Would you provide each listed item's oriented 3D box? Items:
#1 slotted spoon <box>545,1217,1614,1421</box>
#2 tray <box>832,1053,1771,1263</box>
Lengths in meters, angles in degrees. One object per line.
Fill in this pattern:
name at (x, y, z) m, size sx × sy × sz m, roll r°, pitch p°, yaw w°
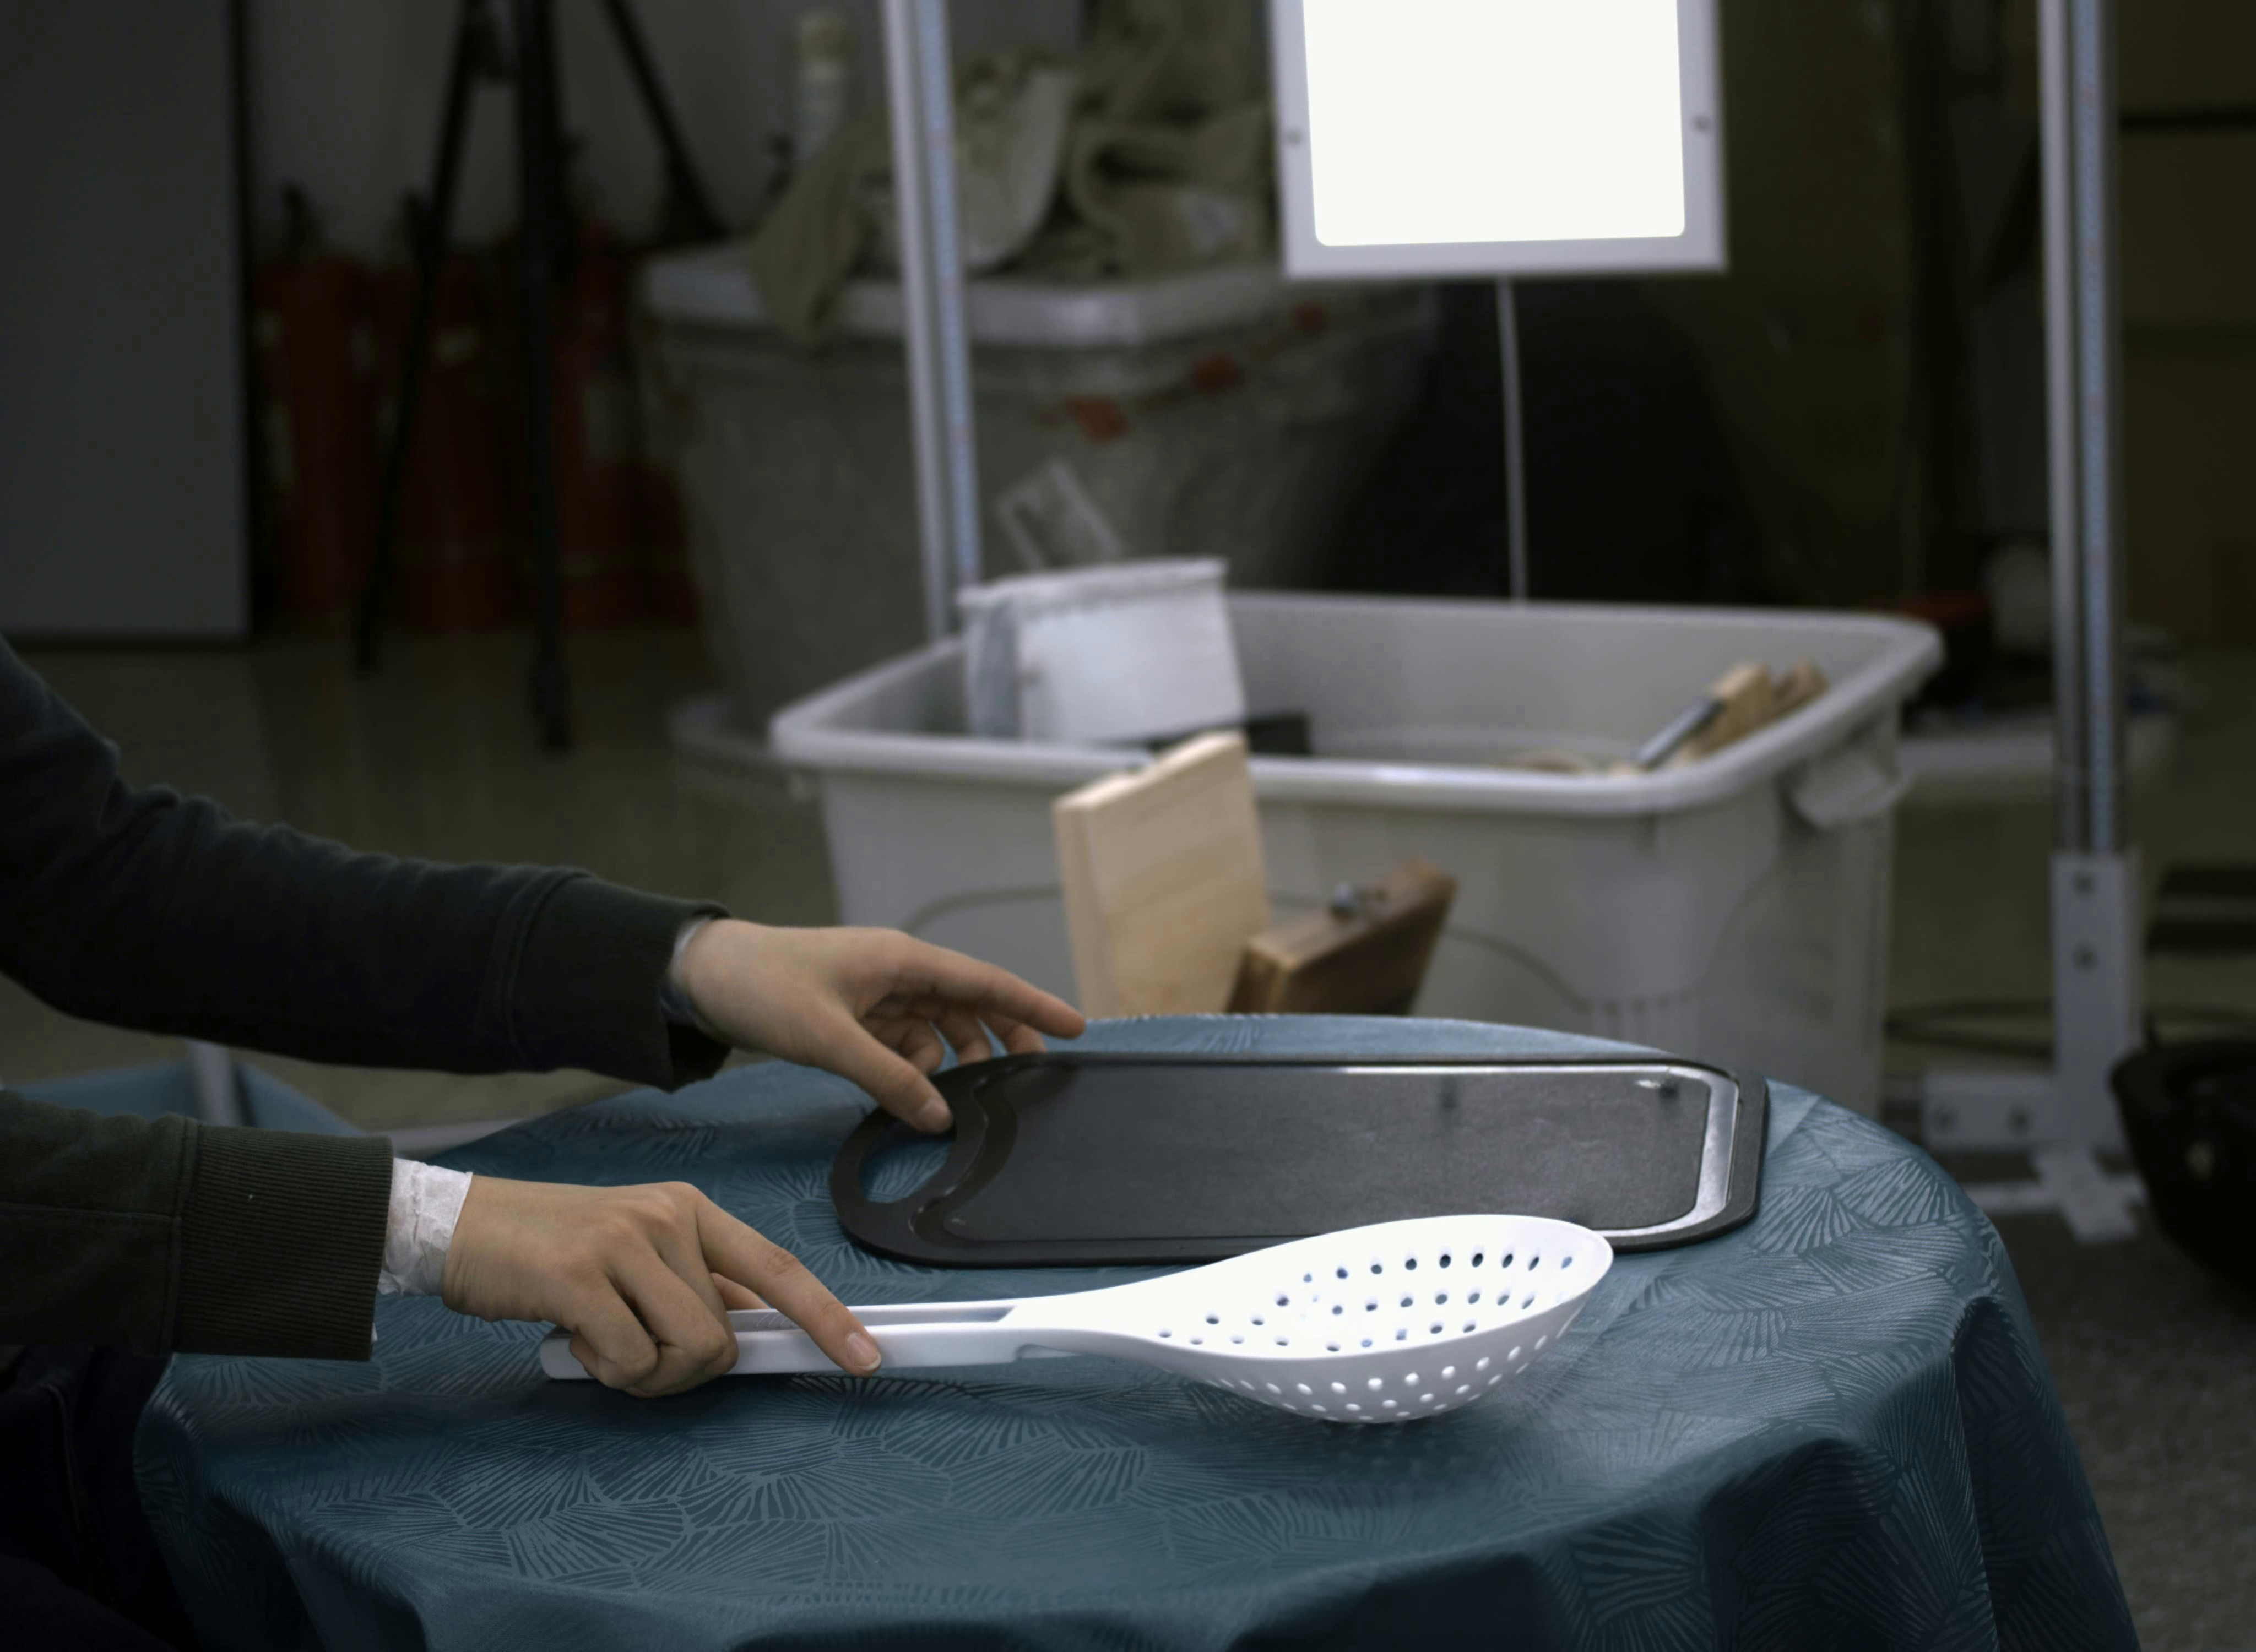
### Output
slotted spoon at (-0.020, 0.153, 1.699) m, size 0.355 × 0.046 × 0.133 m, roll 0°, pitch 12°, yaw 22°
tray at (0.059, 0.112, 1.909) m, size 0.327 × 0.010 × 0.209 m, roll -2°, pitch 15°, yaw 11°
